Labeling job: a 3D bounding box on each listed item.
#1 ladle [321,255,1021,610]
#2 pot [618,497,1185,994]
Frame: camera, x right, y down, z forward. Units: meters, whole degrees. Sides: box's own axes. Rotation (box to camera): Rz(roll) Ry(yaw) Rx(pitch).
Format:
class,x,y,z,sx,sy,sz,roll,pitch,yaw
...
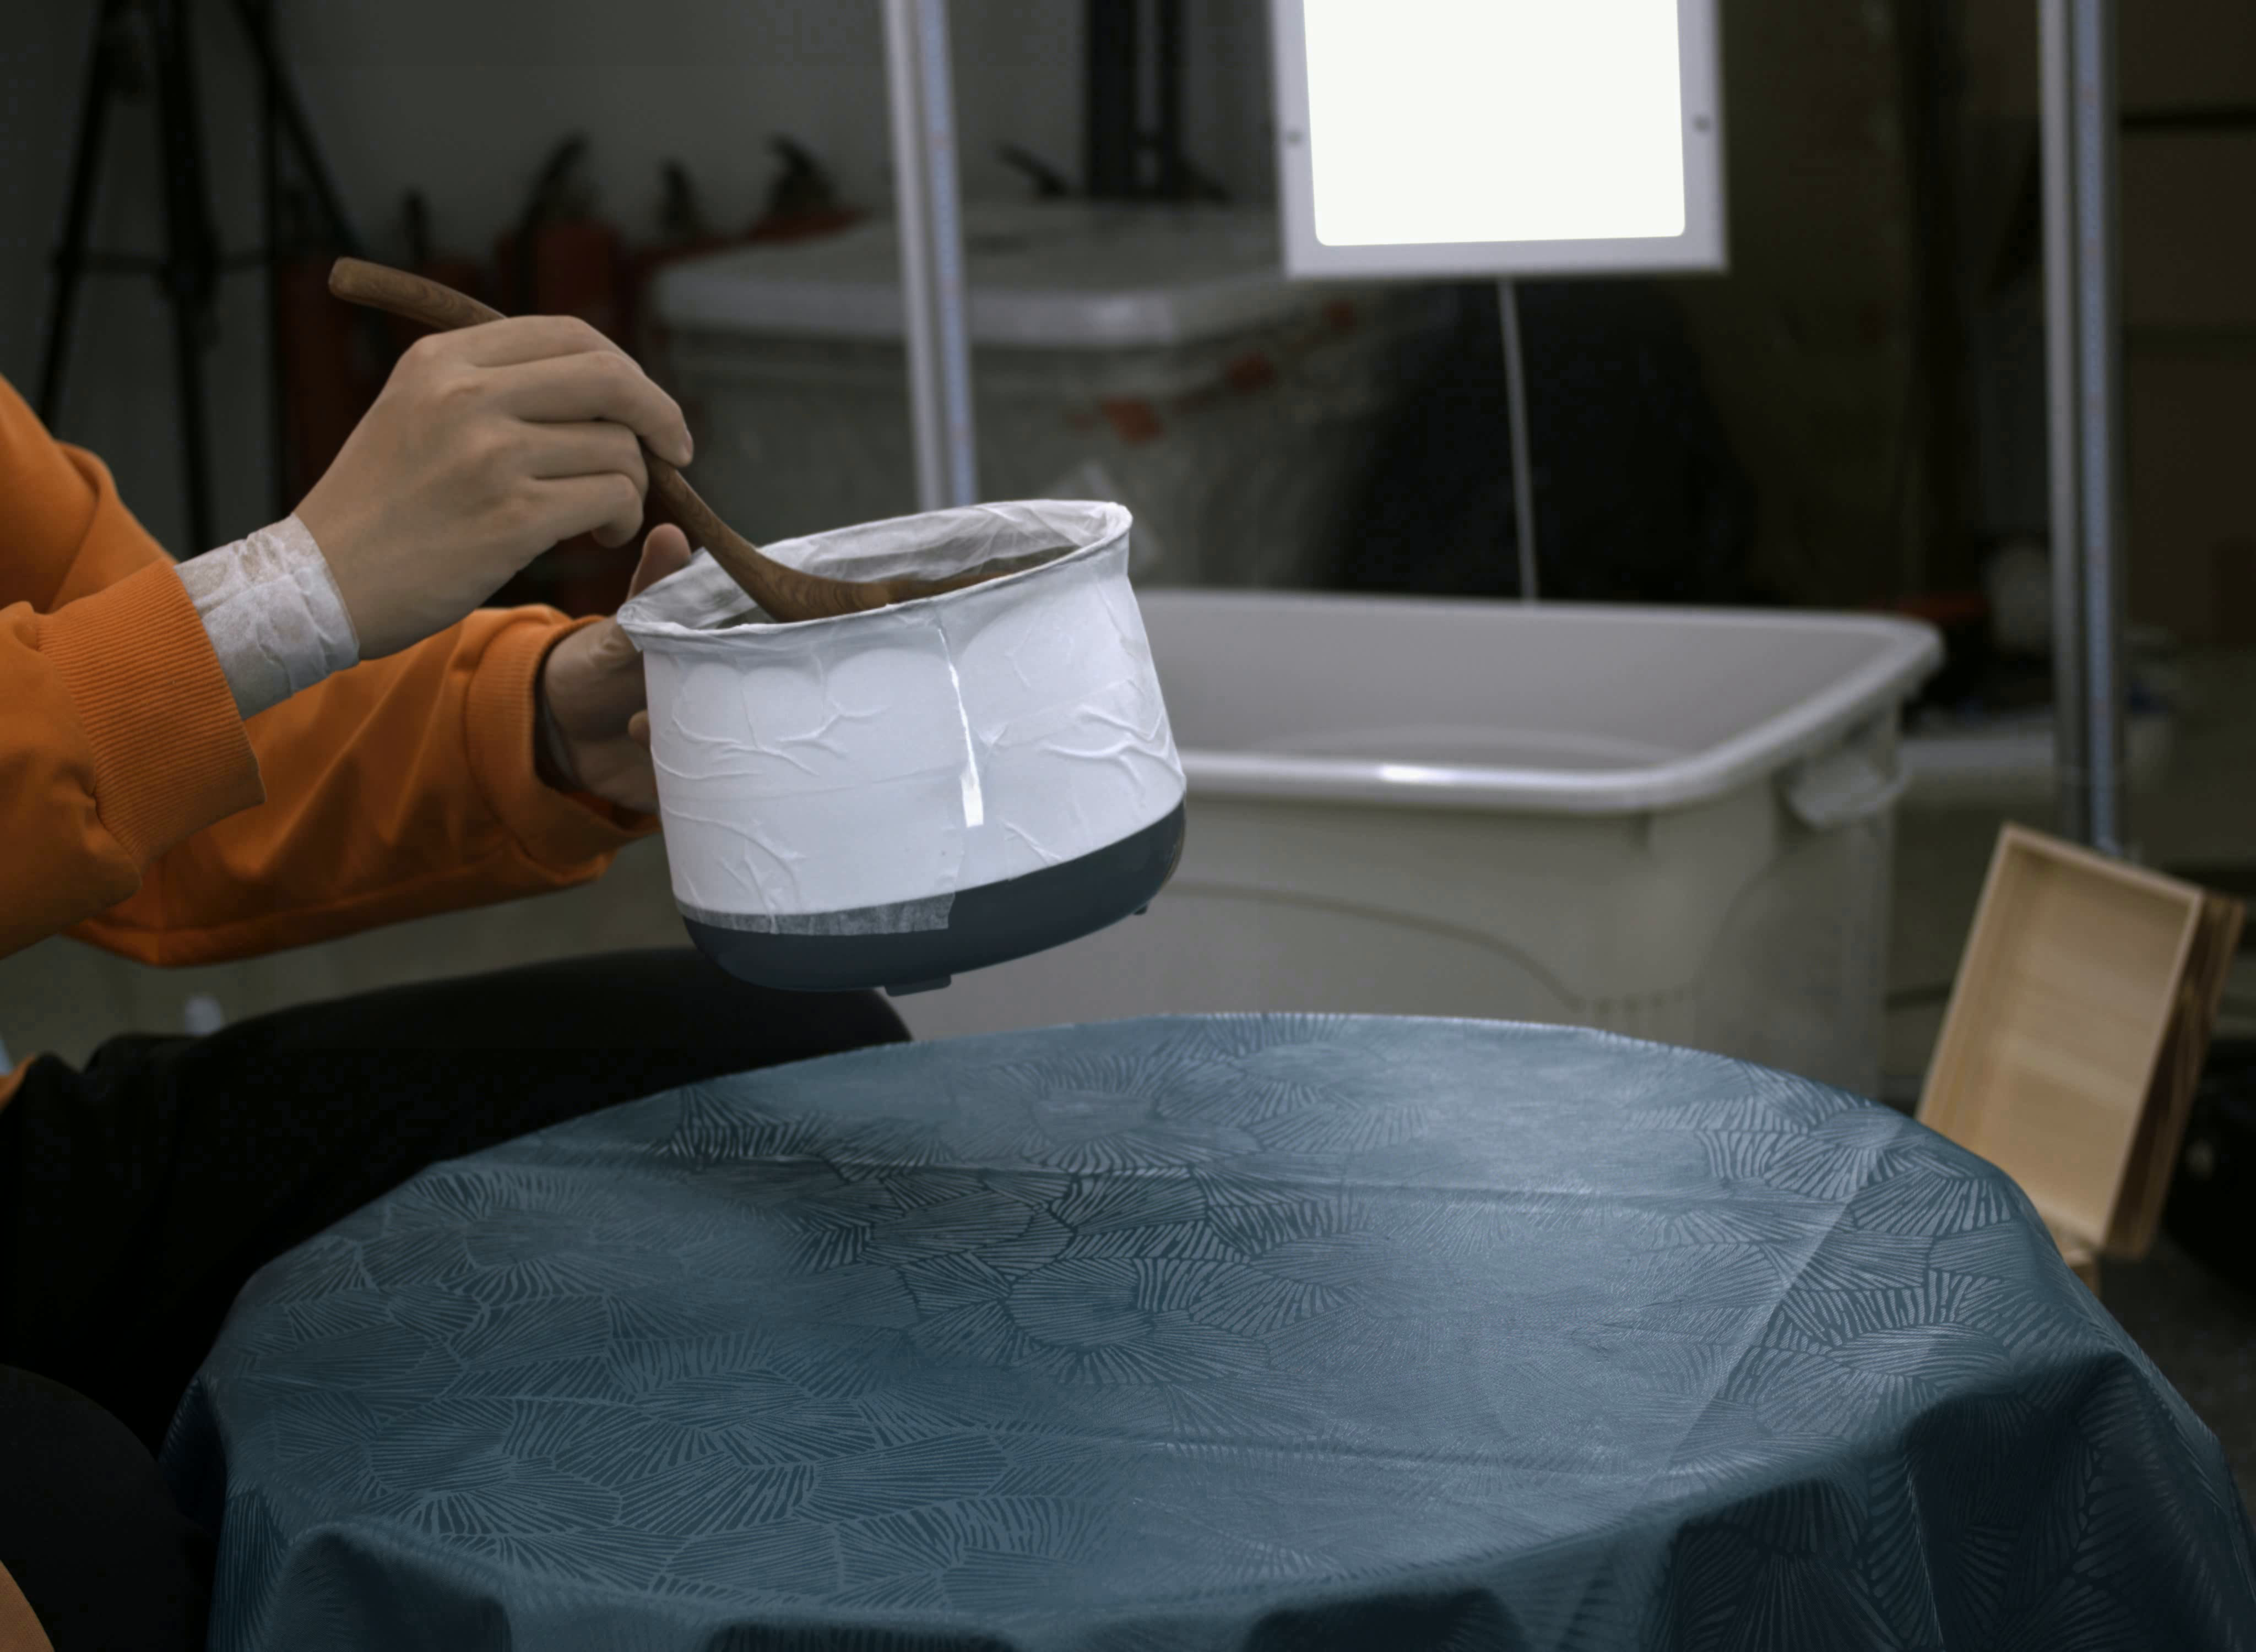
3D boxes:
class,x,y,z,sx,sy,sz,roll,pitch,yaw
ladle,-0.153,-0.134,1.877,0.259,0.065,0.077,36,-11,-5
pot,-0.091,-0.029,1.880,0.174,0.137,0.239,-20,15,-36
